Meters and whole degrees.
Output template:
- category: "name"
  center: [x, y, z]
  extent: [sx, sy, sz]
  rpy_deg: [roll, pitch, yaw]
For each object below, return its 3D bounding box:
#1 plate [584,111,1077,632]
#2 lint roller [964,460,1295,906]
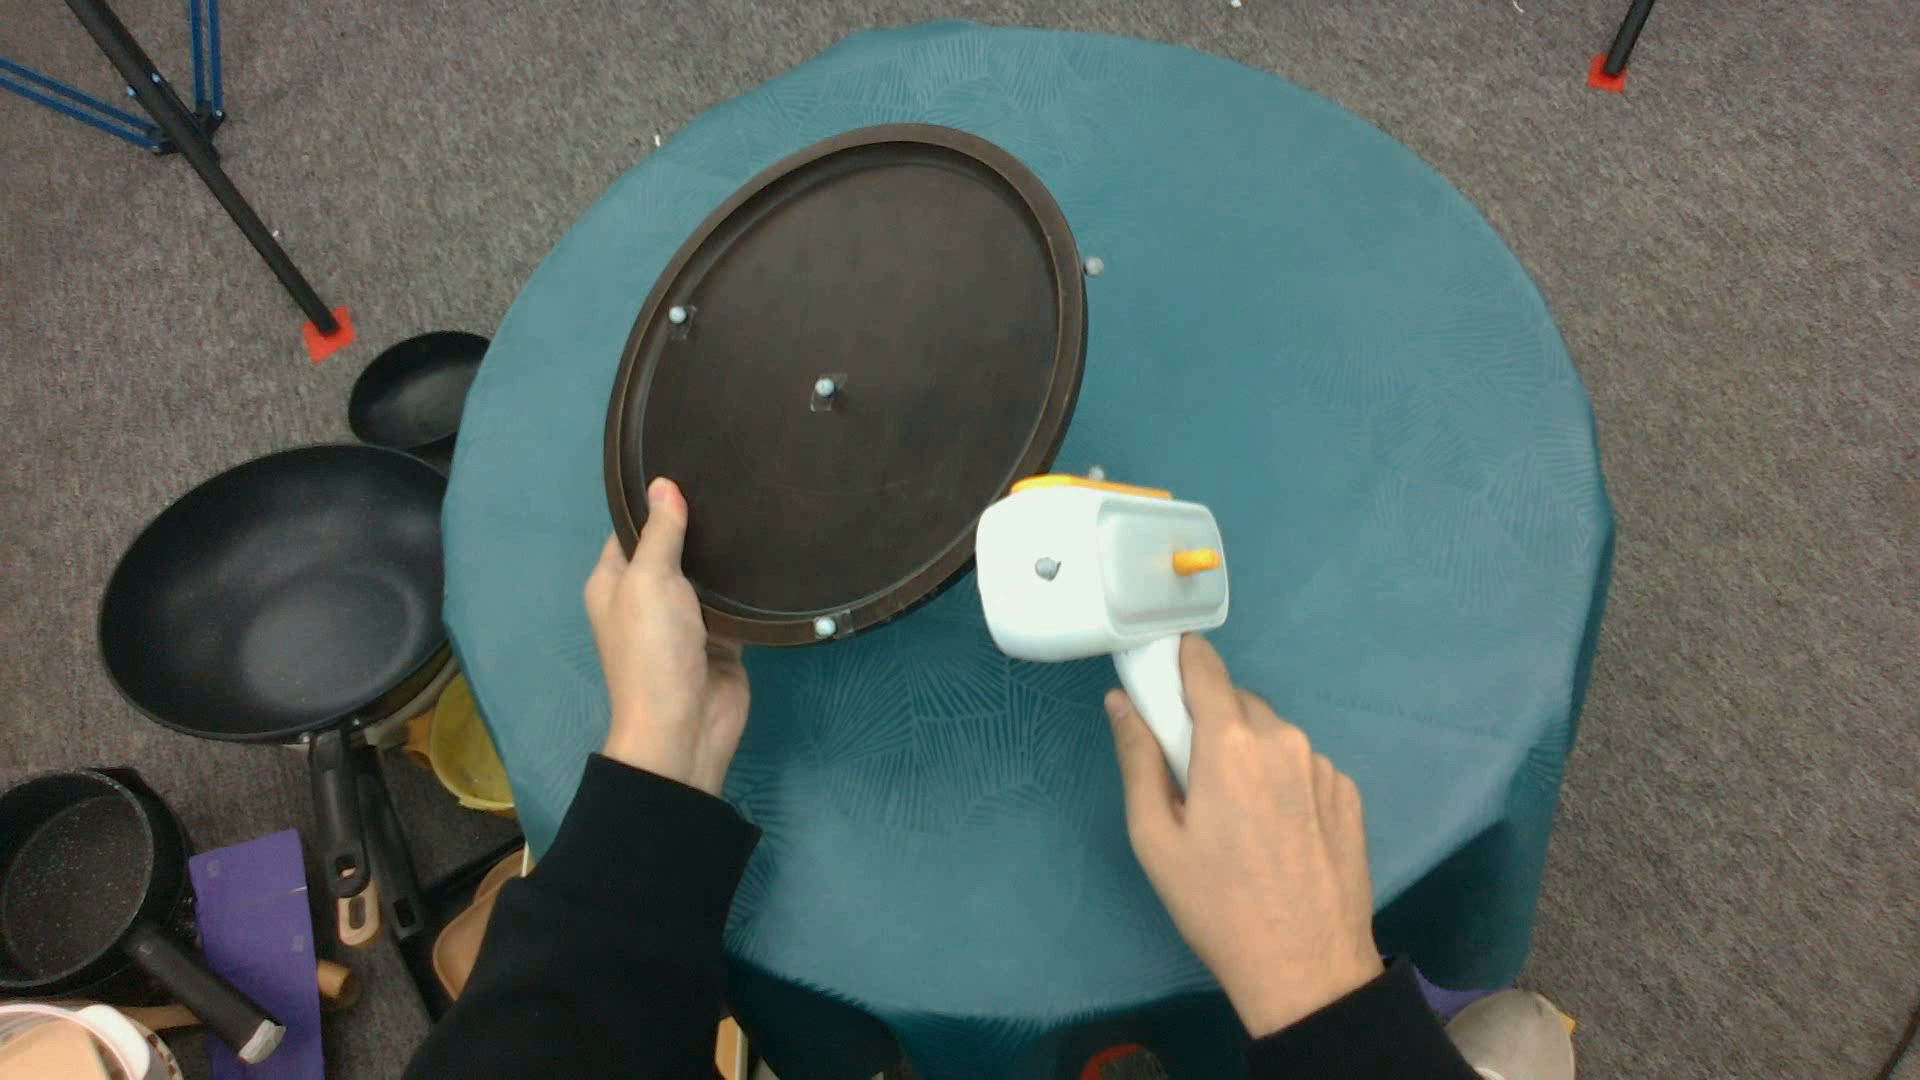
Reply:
- category: "plate"
  center: [-0.064, -0.079, 0.619]
  extent: [0.254, 0.029, 0.255]
  rpy_deg: [-9, 68, 24]
- category: "lint roller"
  center: [0.080, 0.059, 0.561]
  extent: [0.074, 0.193, 0.192]
  rpy_deg: [-18, 86, 20]
